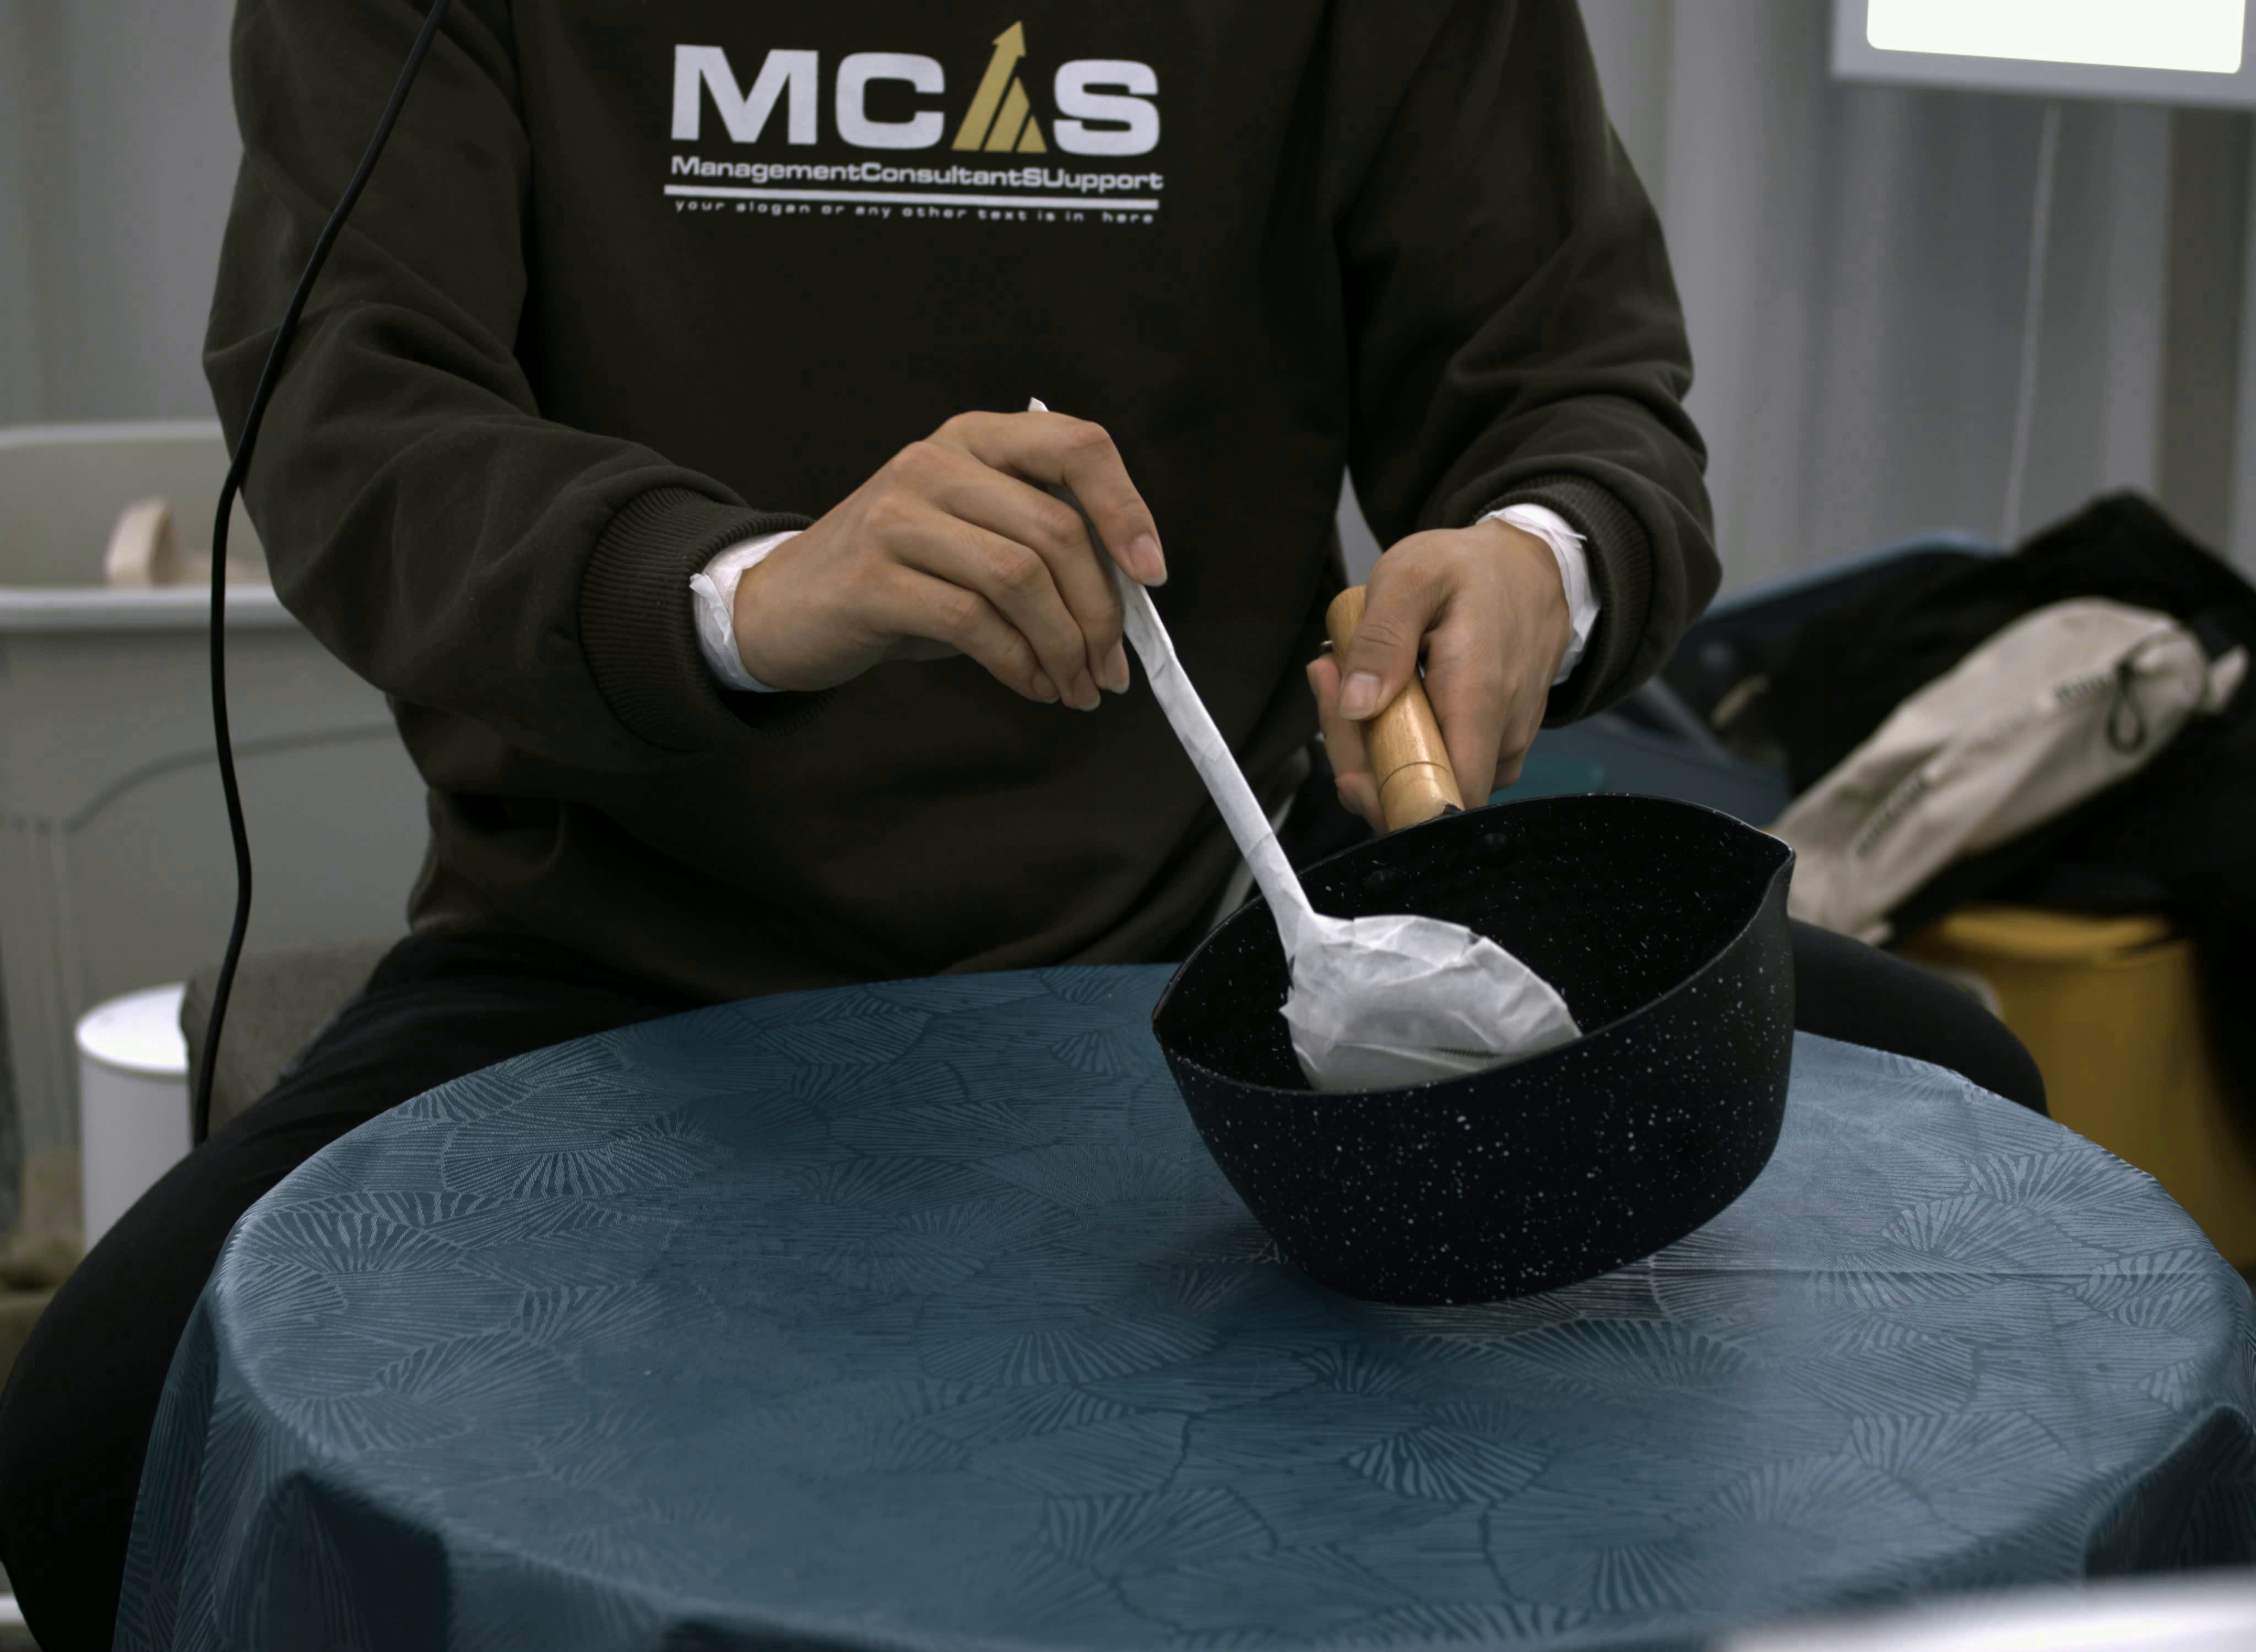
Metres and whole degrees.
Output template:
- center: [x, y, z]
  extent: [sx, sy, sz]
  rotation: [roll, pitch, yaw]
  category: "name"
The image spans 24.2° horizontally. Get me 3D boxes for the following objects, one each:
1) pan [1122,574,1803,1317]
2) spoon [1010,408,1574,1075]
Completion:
- center: [0.100, 0.029, 1.624]
  extent: [0.207, 0.109, 0.340]
  rotation: [-18, 24, 2]
  category: "pan"
- center: [0.043, -0.015, 1.556]
  extent: [0.060, 0.101, 0.275]
  rotation: [-7, 57, -38]
  category: "spoon"
